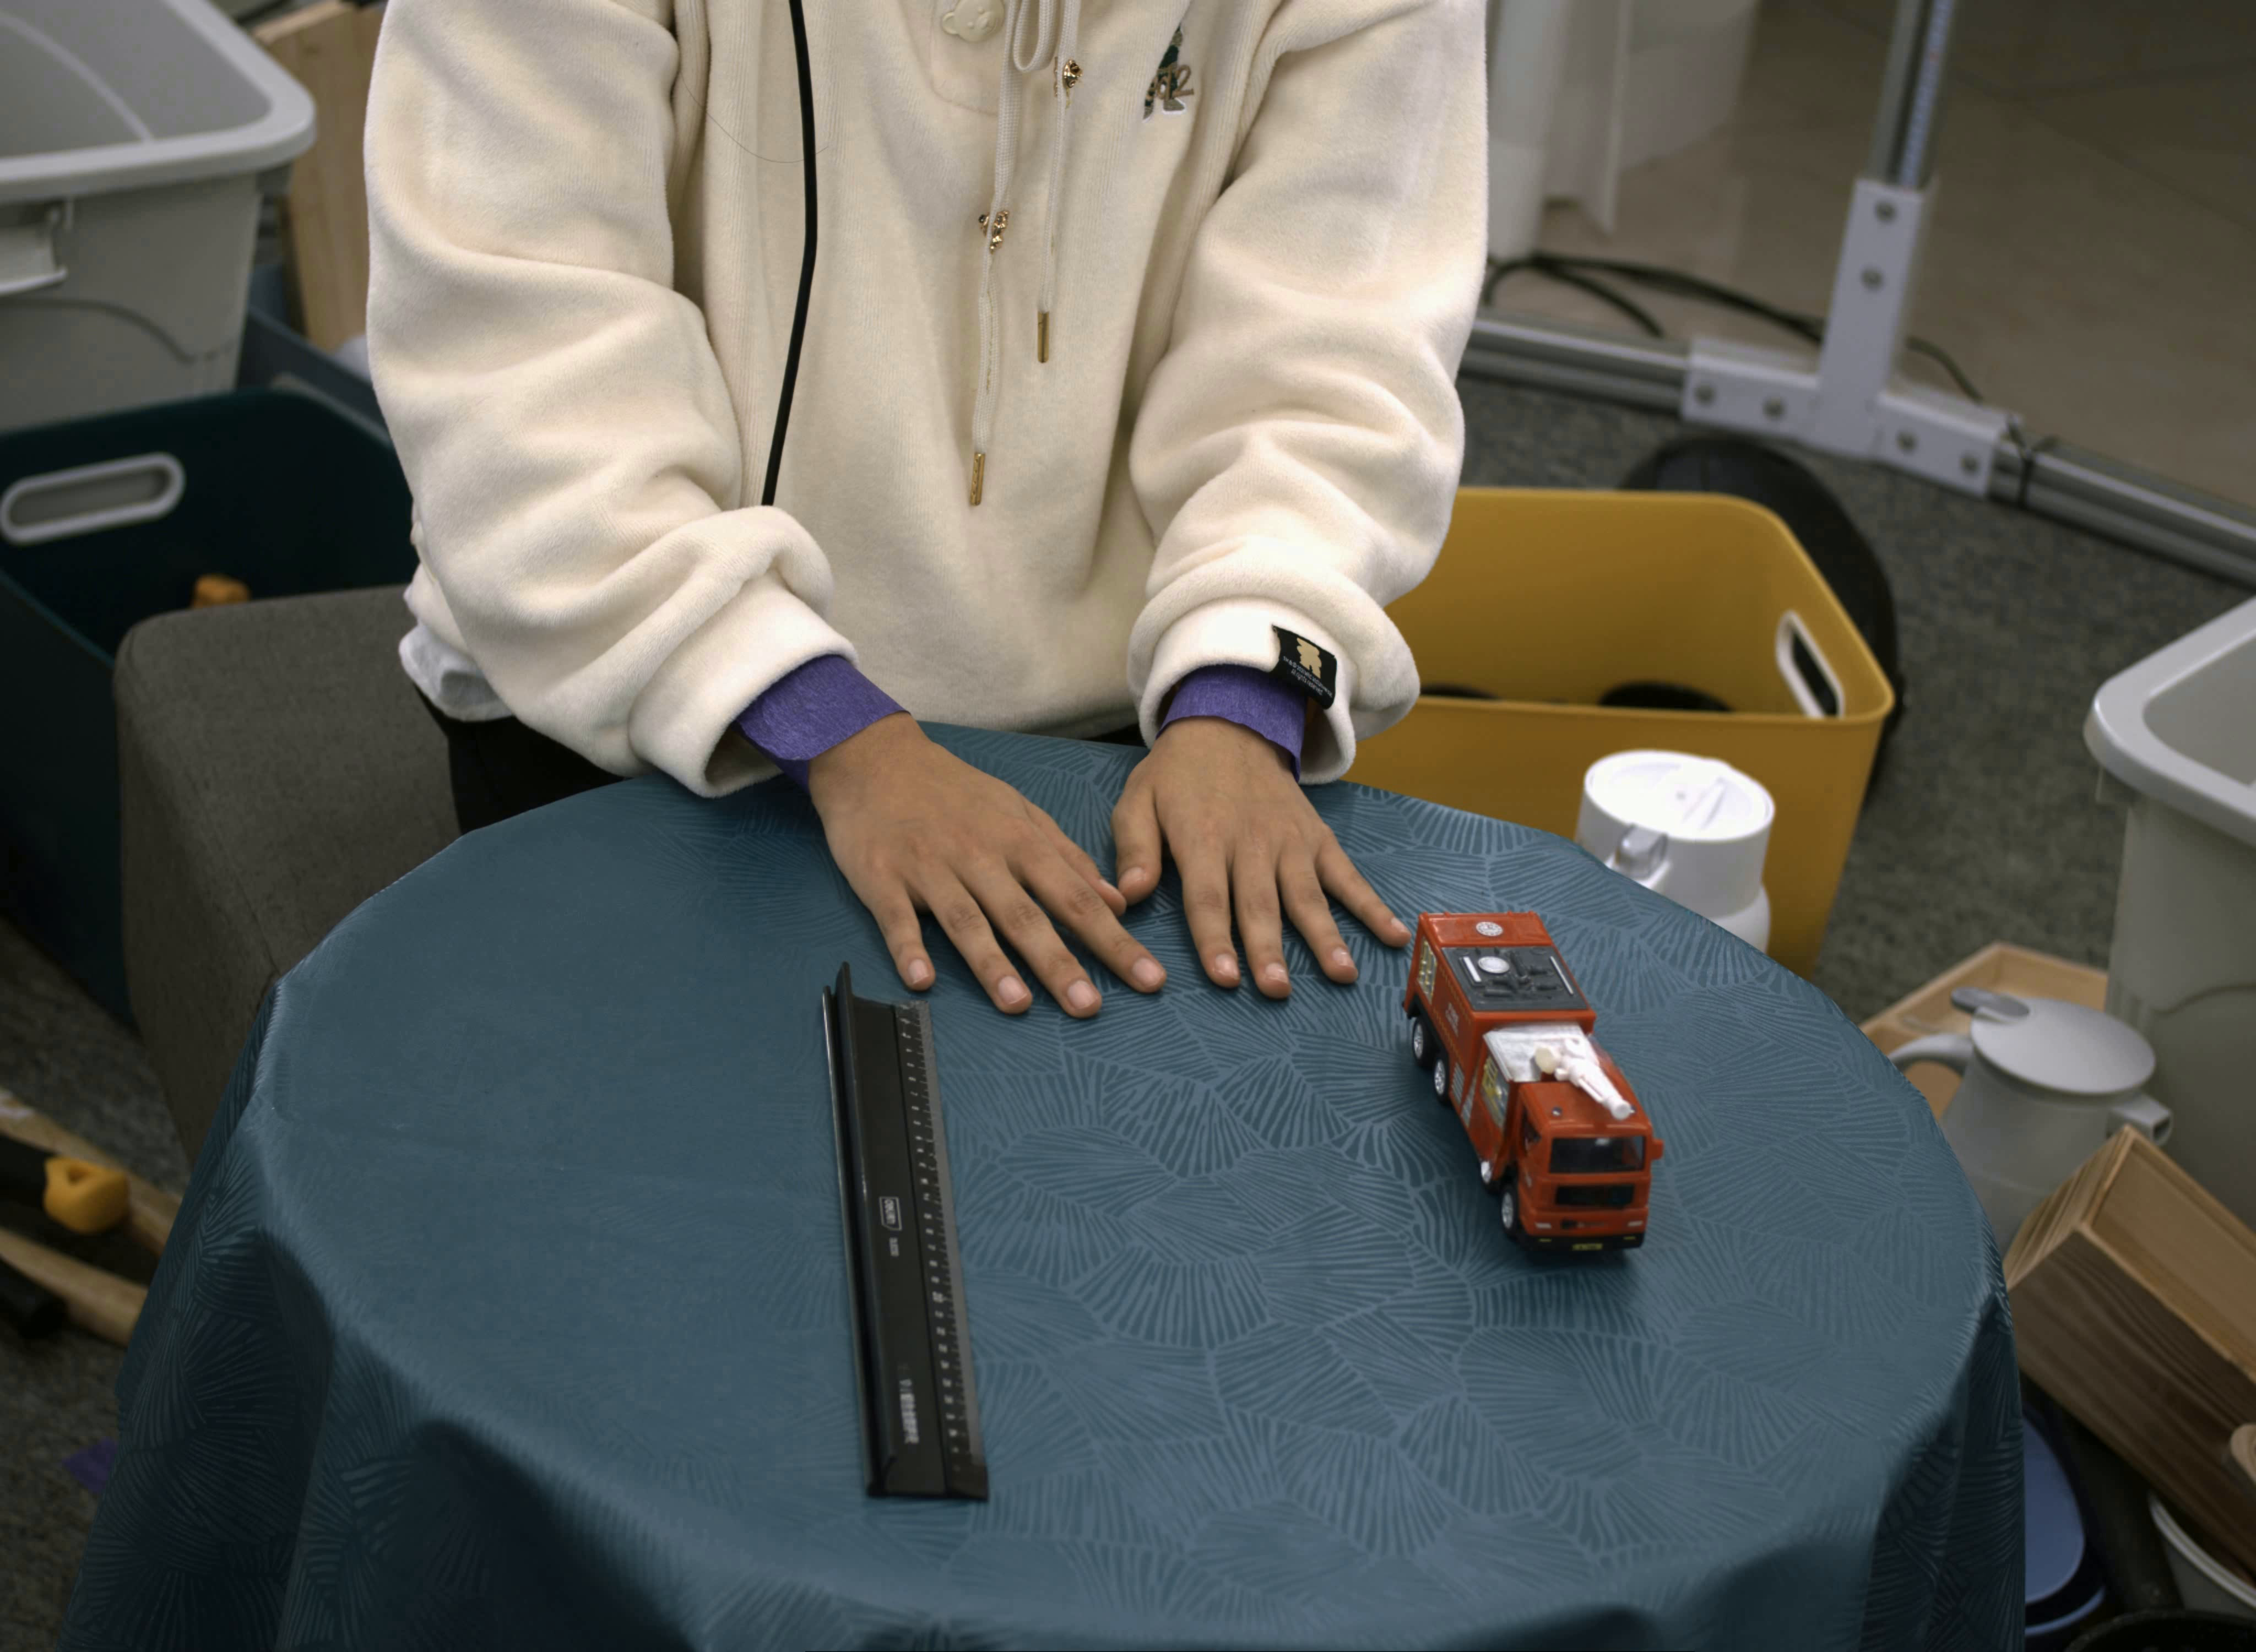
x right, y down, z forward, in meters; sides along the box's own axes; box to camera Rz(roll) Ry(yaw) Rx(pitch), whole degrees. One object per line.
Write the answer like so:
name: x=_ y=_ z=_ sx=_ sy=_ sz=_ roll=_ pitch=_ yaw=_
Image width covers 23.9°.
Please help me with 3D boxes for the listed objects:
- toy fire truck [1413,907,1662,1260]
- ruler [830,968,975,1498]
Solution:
toy fire truck: x=0.140 y=0.087 z=1.841 sx=0.054 sy=0.070 sz=0.169 roll=-1 pitch=26 yaw=-13
ruler: x=-0.075 y=0.128 z=1.759 sx=0.039 sy=0.017 sz=0.314 roll=6 pitch=26 yaw=-8
